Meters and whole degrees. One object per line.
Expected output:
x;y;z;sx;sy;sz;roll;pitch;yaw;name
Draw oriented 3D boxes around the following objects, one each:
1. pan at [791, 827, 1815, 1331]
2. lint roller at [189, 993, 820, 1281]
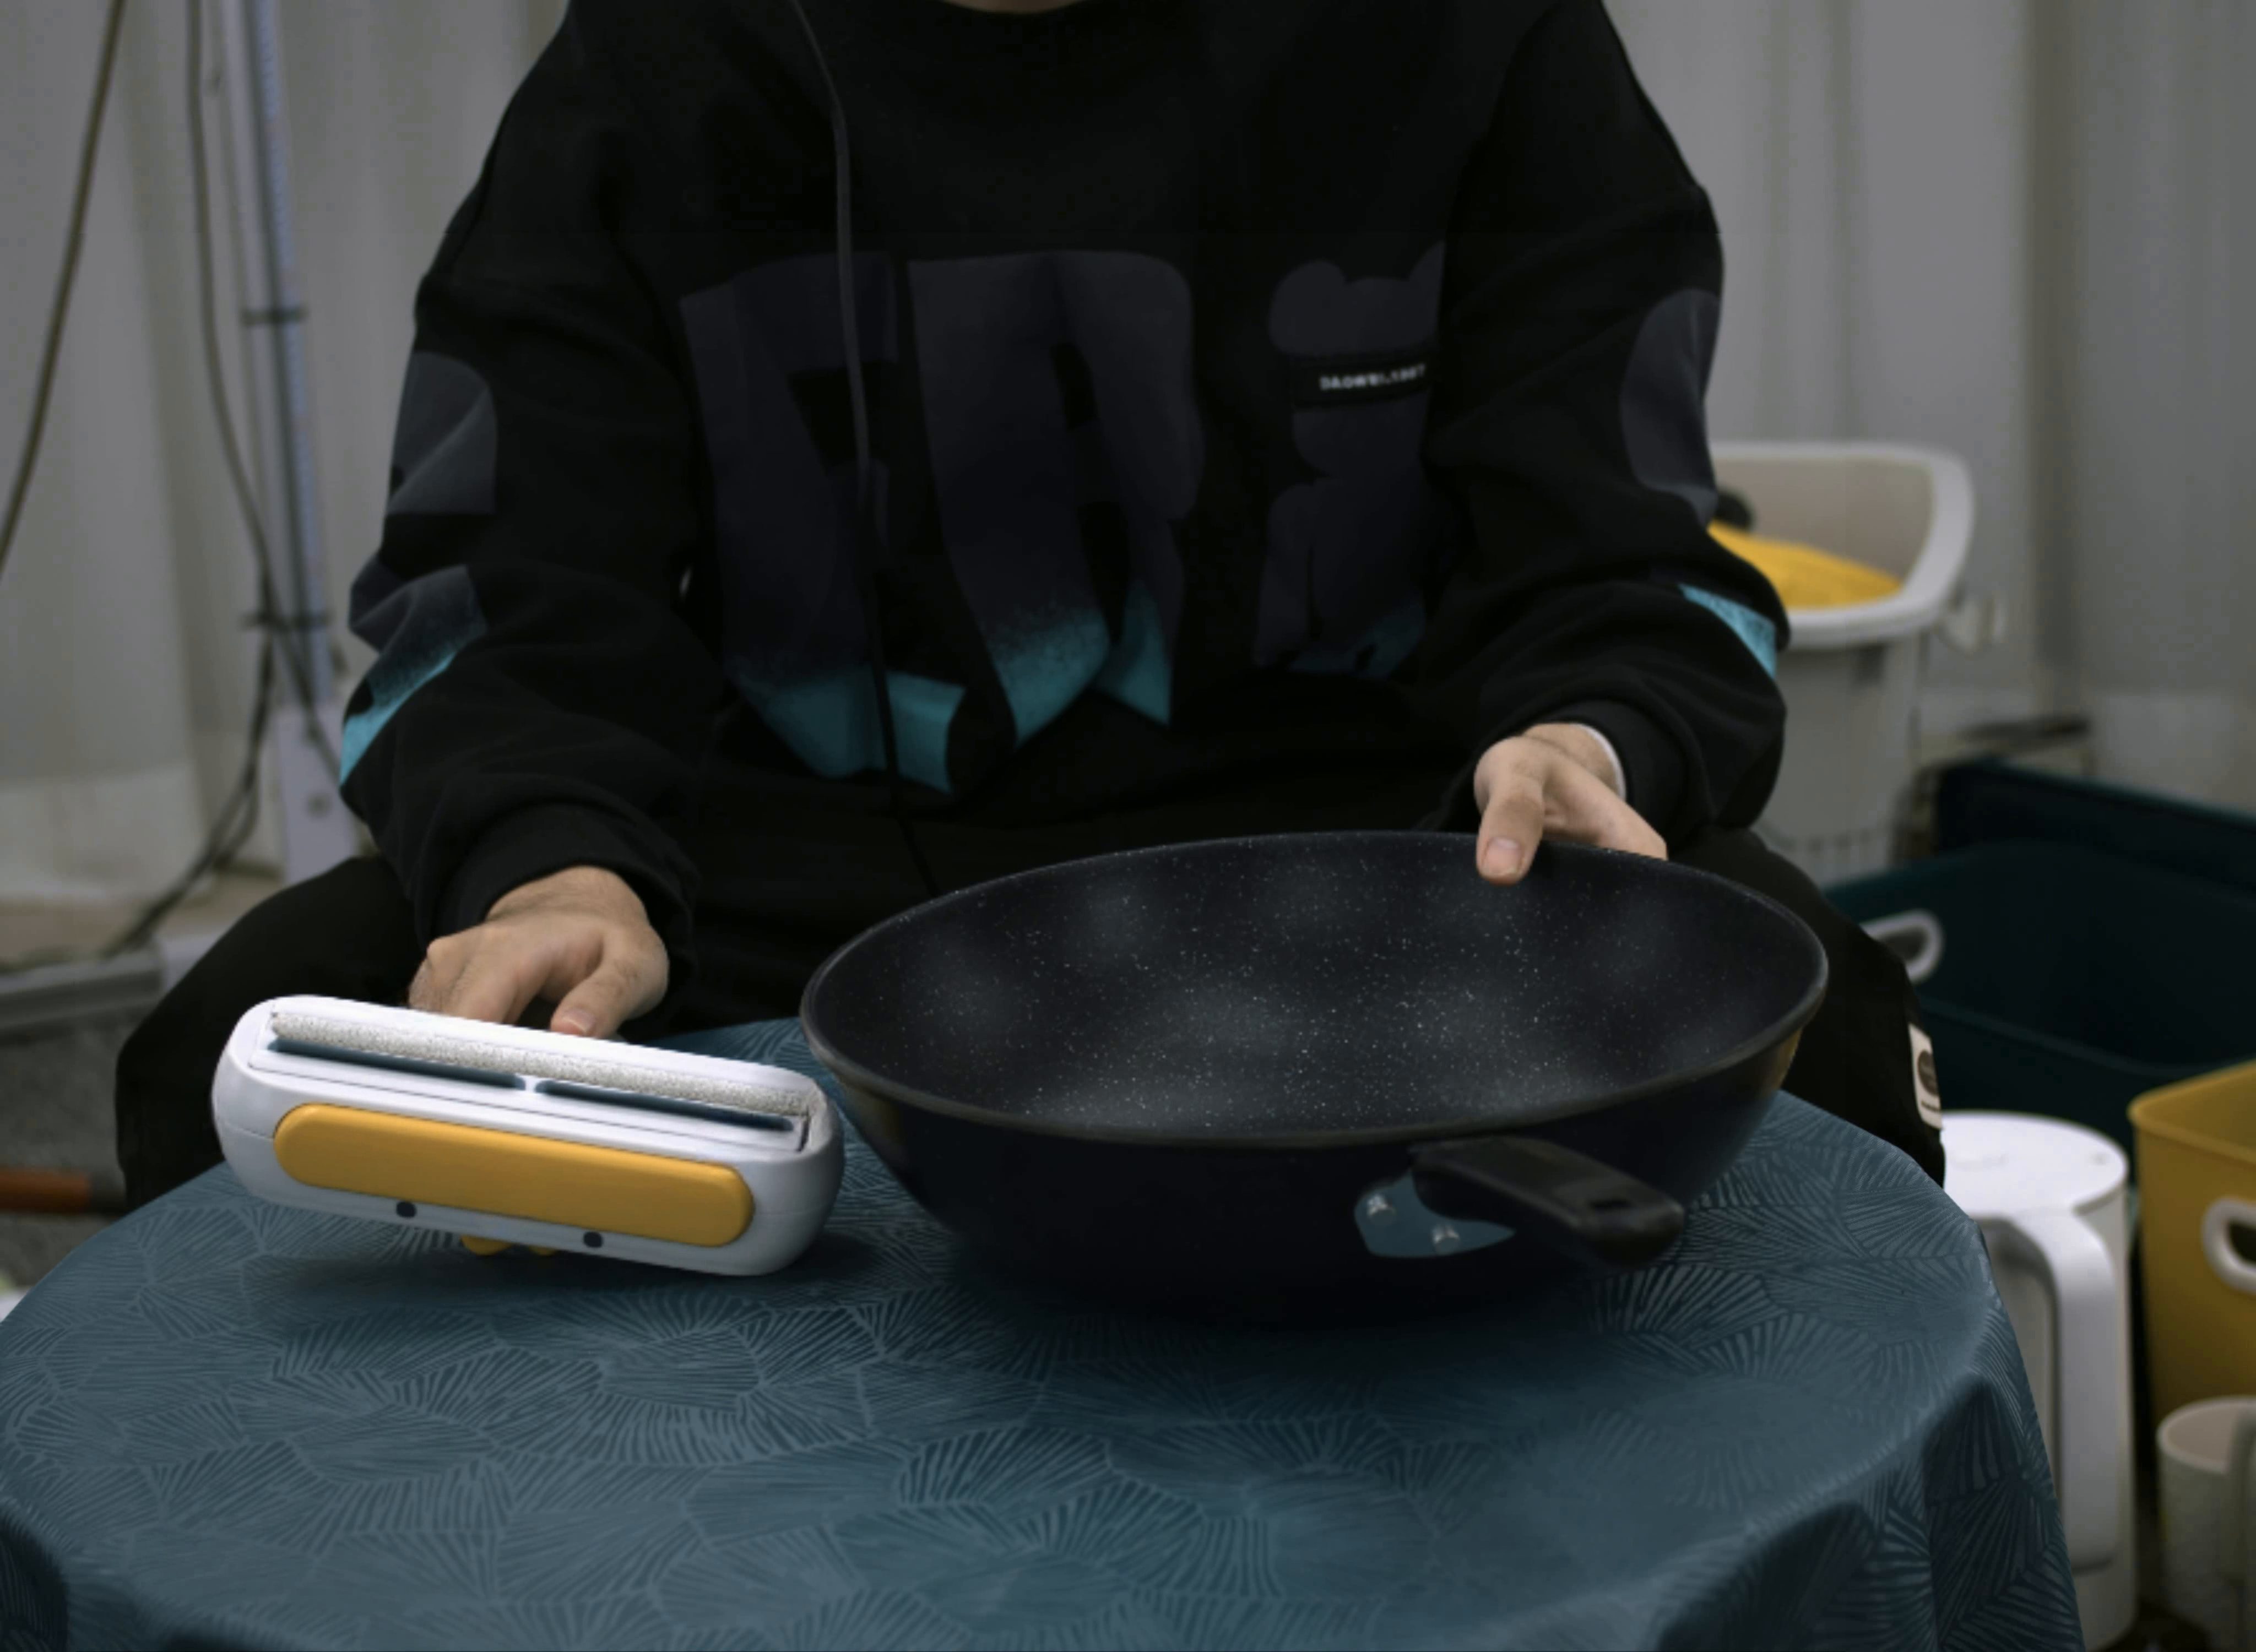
0.073;0.093;1.576;0.309;0.111;0.480;-8;15;-11;pan
-0.184;0.084;1.725;0.192;0.074;0.193;5;17;5;lint roller
